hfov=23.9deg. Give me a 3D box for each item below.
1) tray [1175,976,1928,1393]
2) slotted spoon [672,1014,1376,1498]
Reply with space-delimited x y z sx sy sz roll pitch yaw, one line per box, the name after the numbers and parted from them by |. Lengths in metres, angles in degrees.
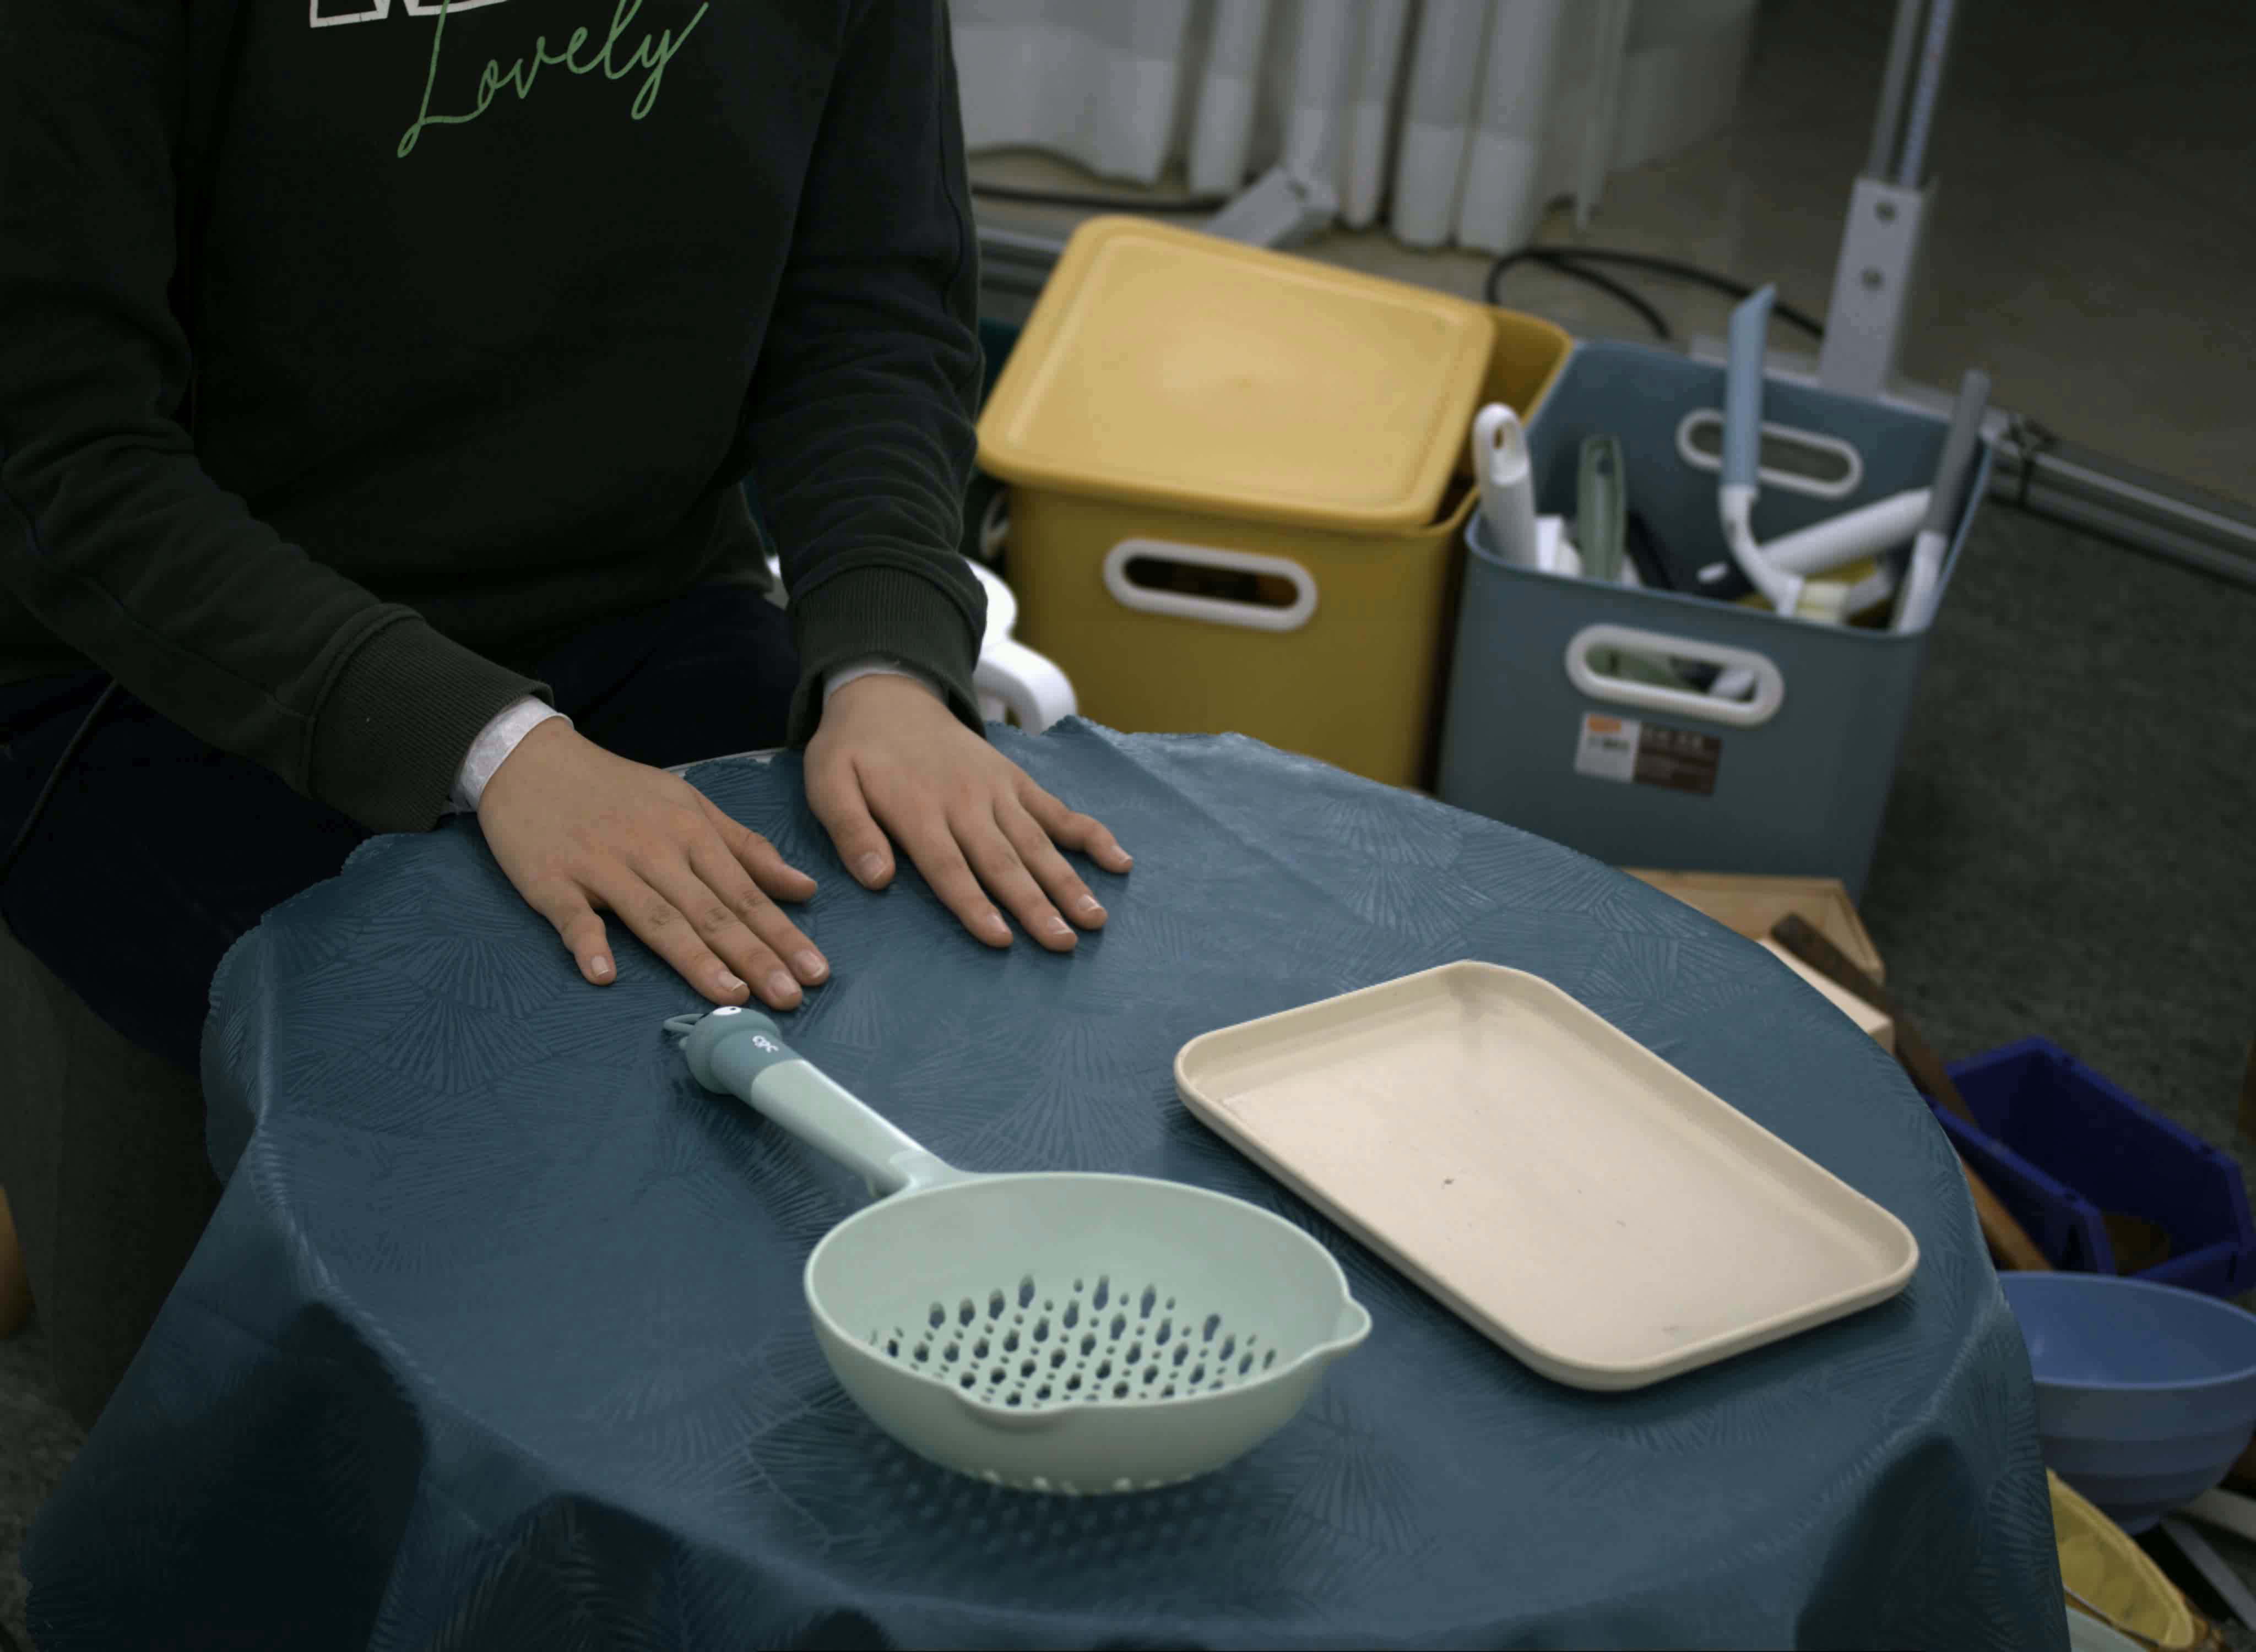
0.142 0.121 1.820 0.170 0.017 0.242 -14 32 -35 | tray
-0.065 0.122 1.718 0.168 0.075 0.362 -8 30 -29 | slotted spoon
